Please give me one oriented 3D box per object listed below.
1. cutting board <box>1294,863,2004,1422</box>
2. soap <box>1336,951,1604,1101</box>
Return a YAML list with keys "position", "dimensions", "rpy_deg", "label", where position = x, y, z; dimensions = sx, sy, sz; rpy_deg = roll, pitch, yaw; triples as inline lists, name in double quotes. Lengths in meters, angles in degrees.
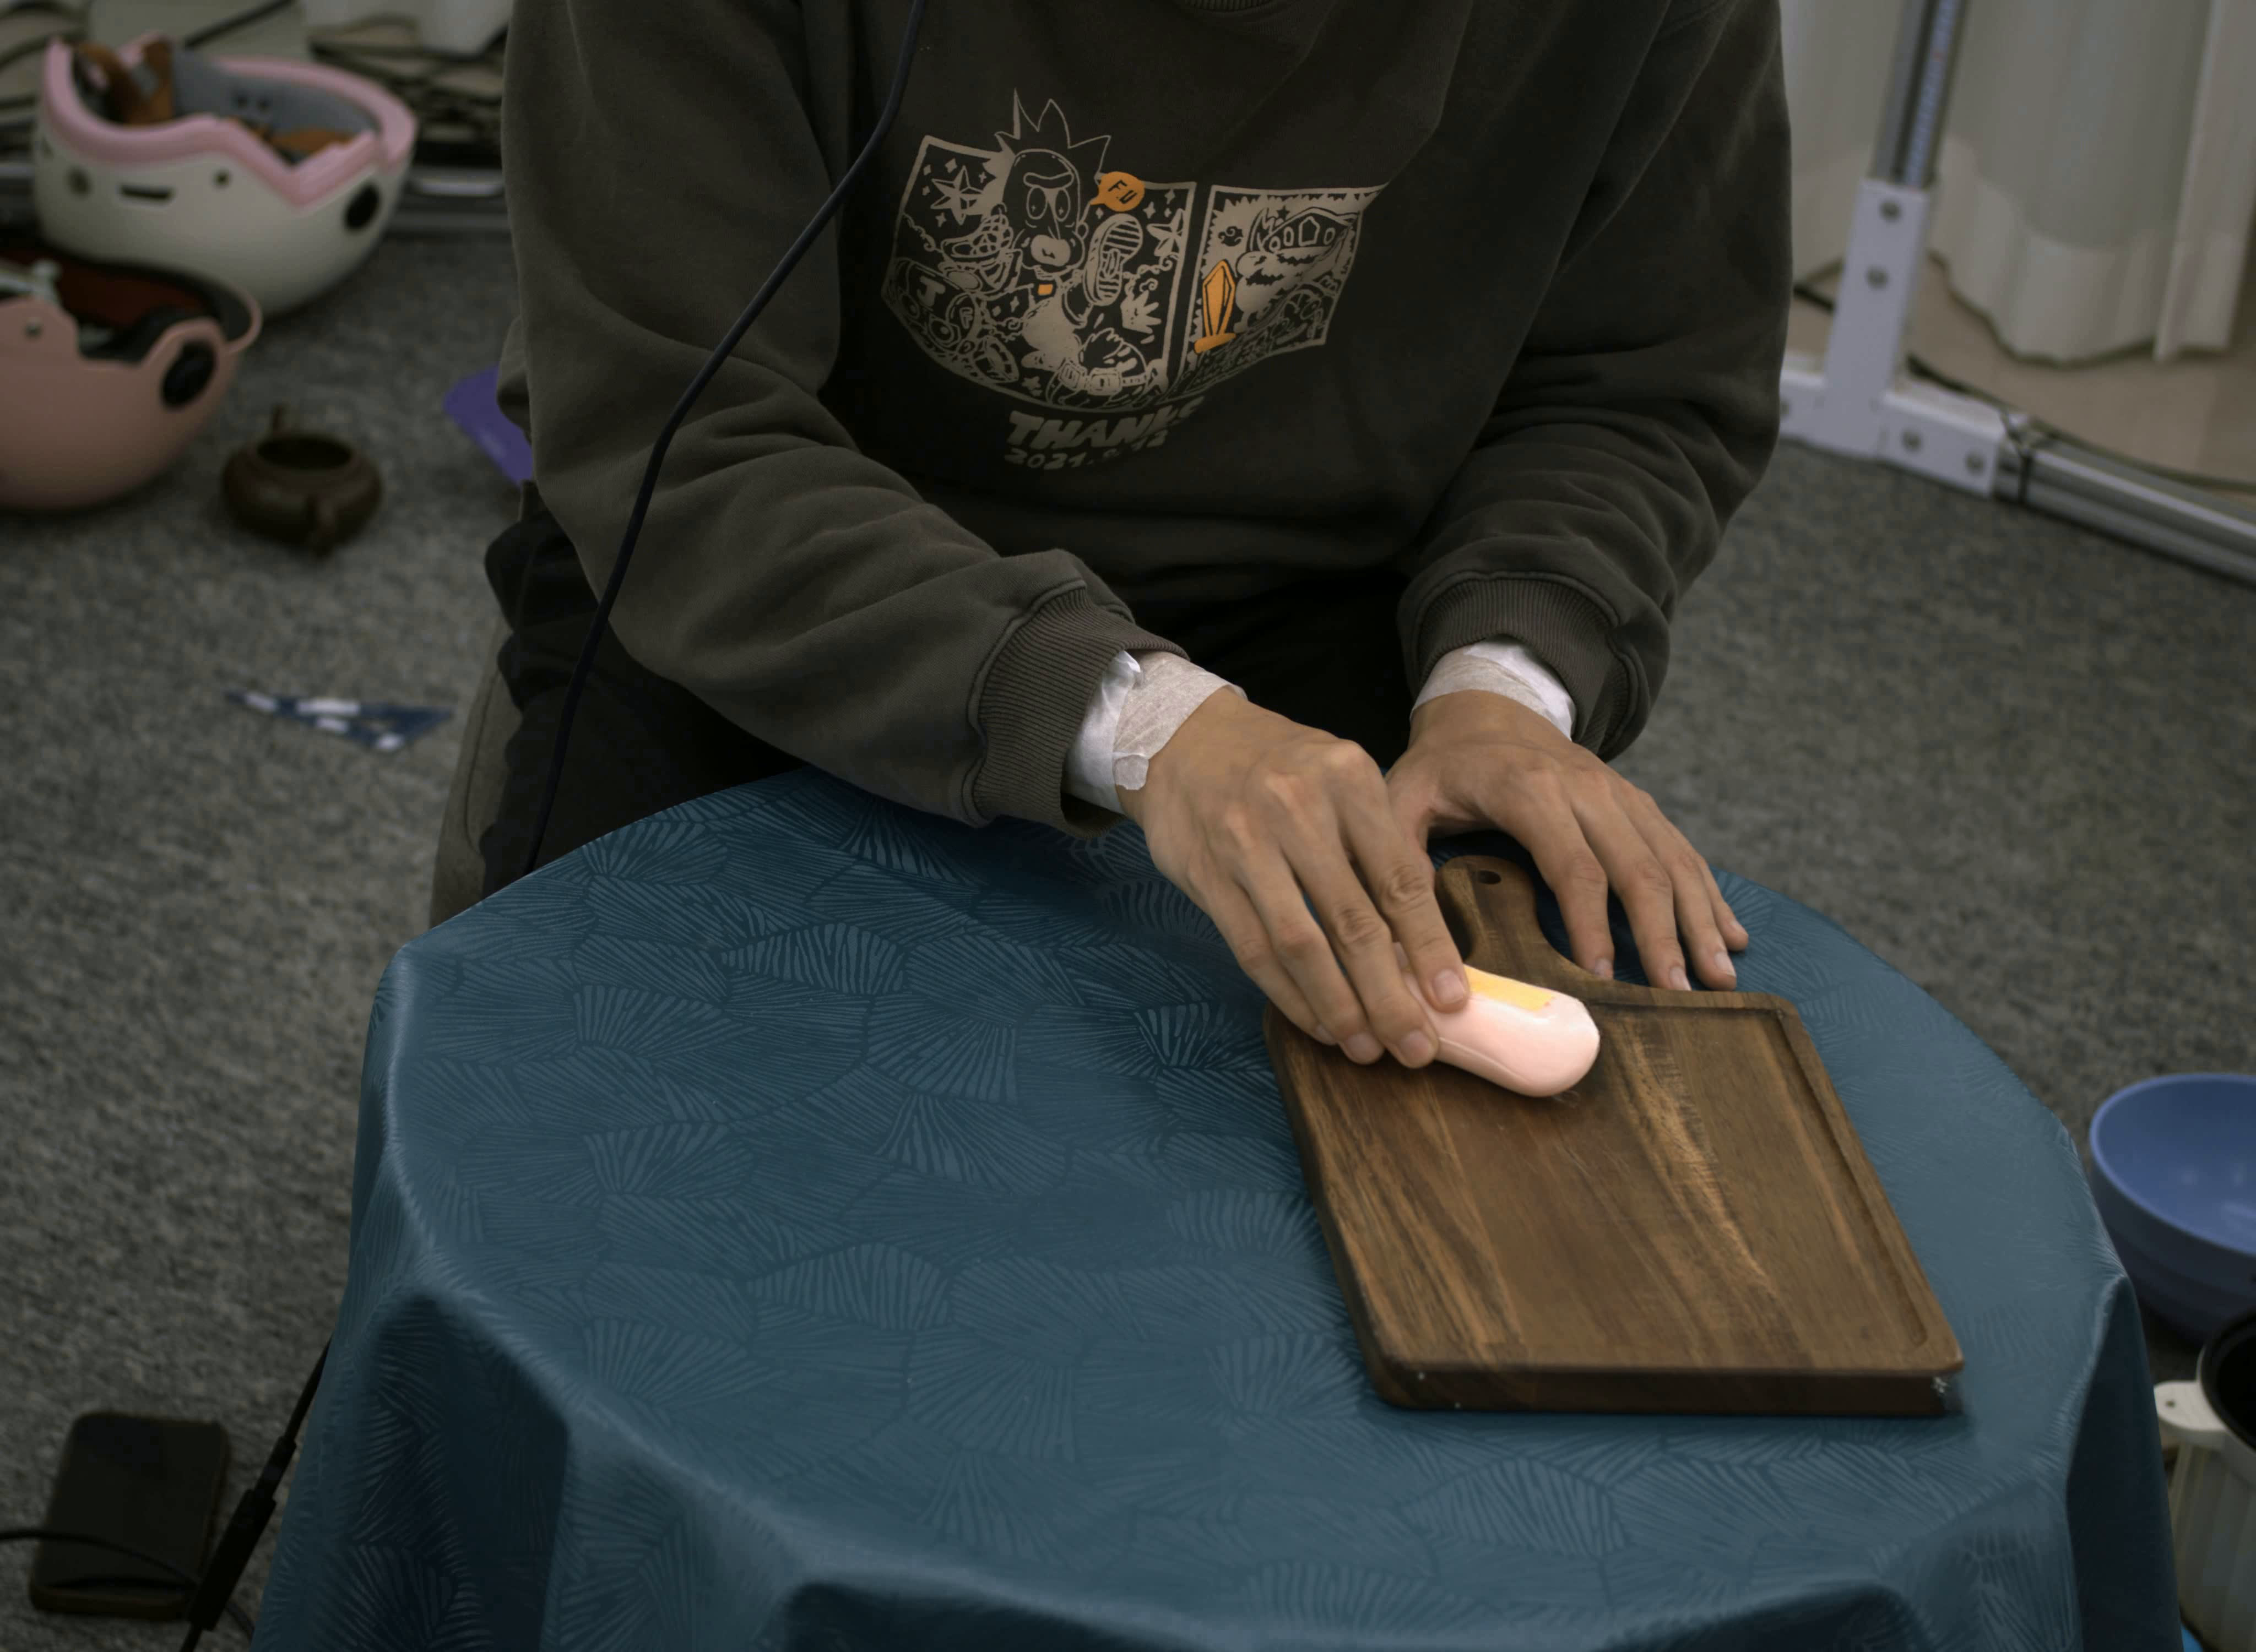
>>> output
- position: [0.166, 0.103, 1.860]
  dimensions: [0.200, 0.023, 0.355]
  rpy_deg: [2, 27, -8]
  label: "cutting board"
- position: [0.120, 0.070, 1.872]
  dimensions: [0.095, 0.030, 0.050]
  rpy_deg: [17, 29, 21]
  label: "soap"
